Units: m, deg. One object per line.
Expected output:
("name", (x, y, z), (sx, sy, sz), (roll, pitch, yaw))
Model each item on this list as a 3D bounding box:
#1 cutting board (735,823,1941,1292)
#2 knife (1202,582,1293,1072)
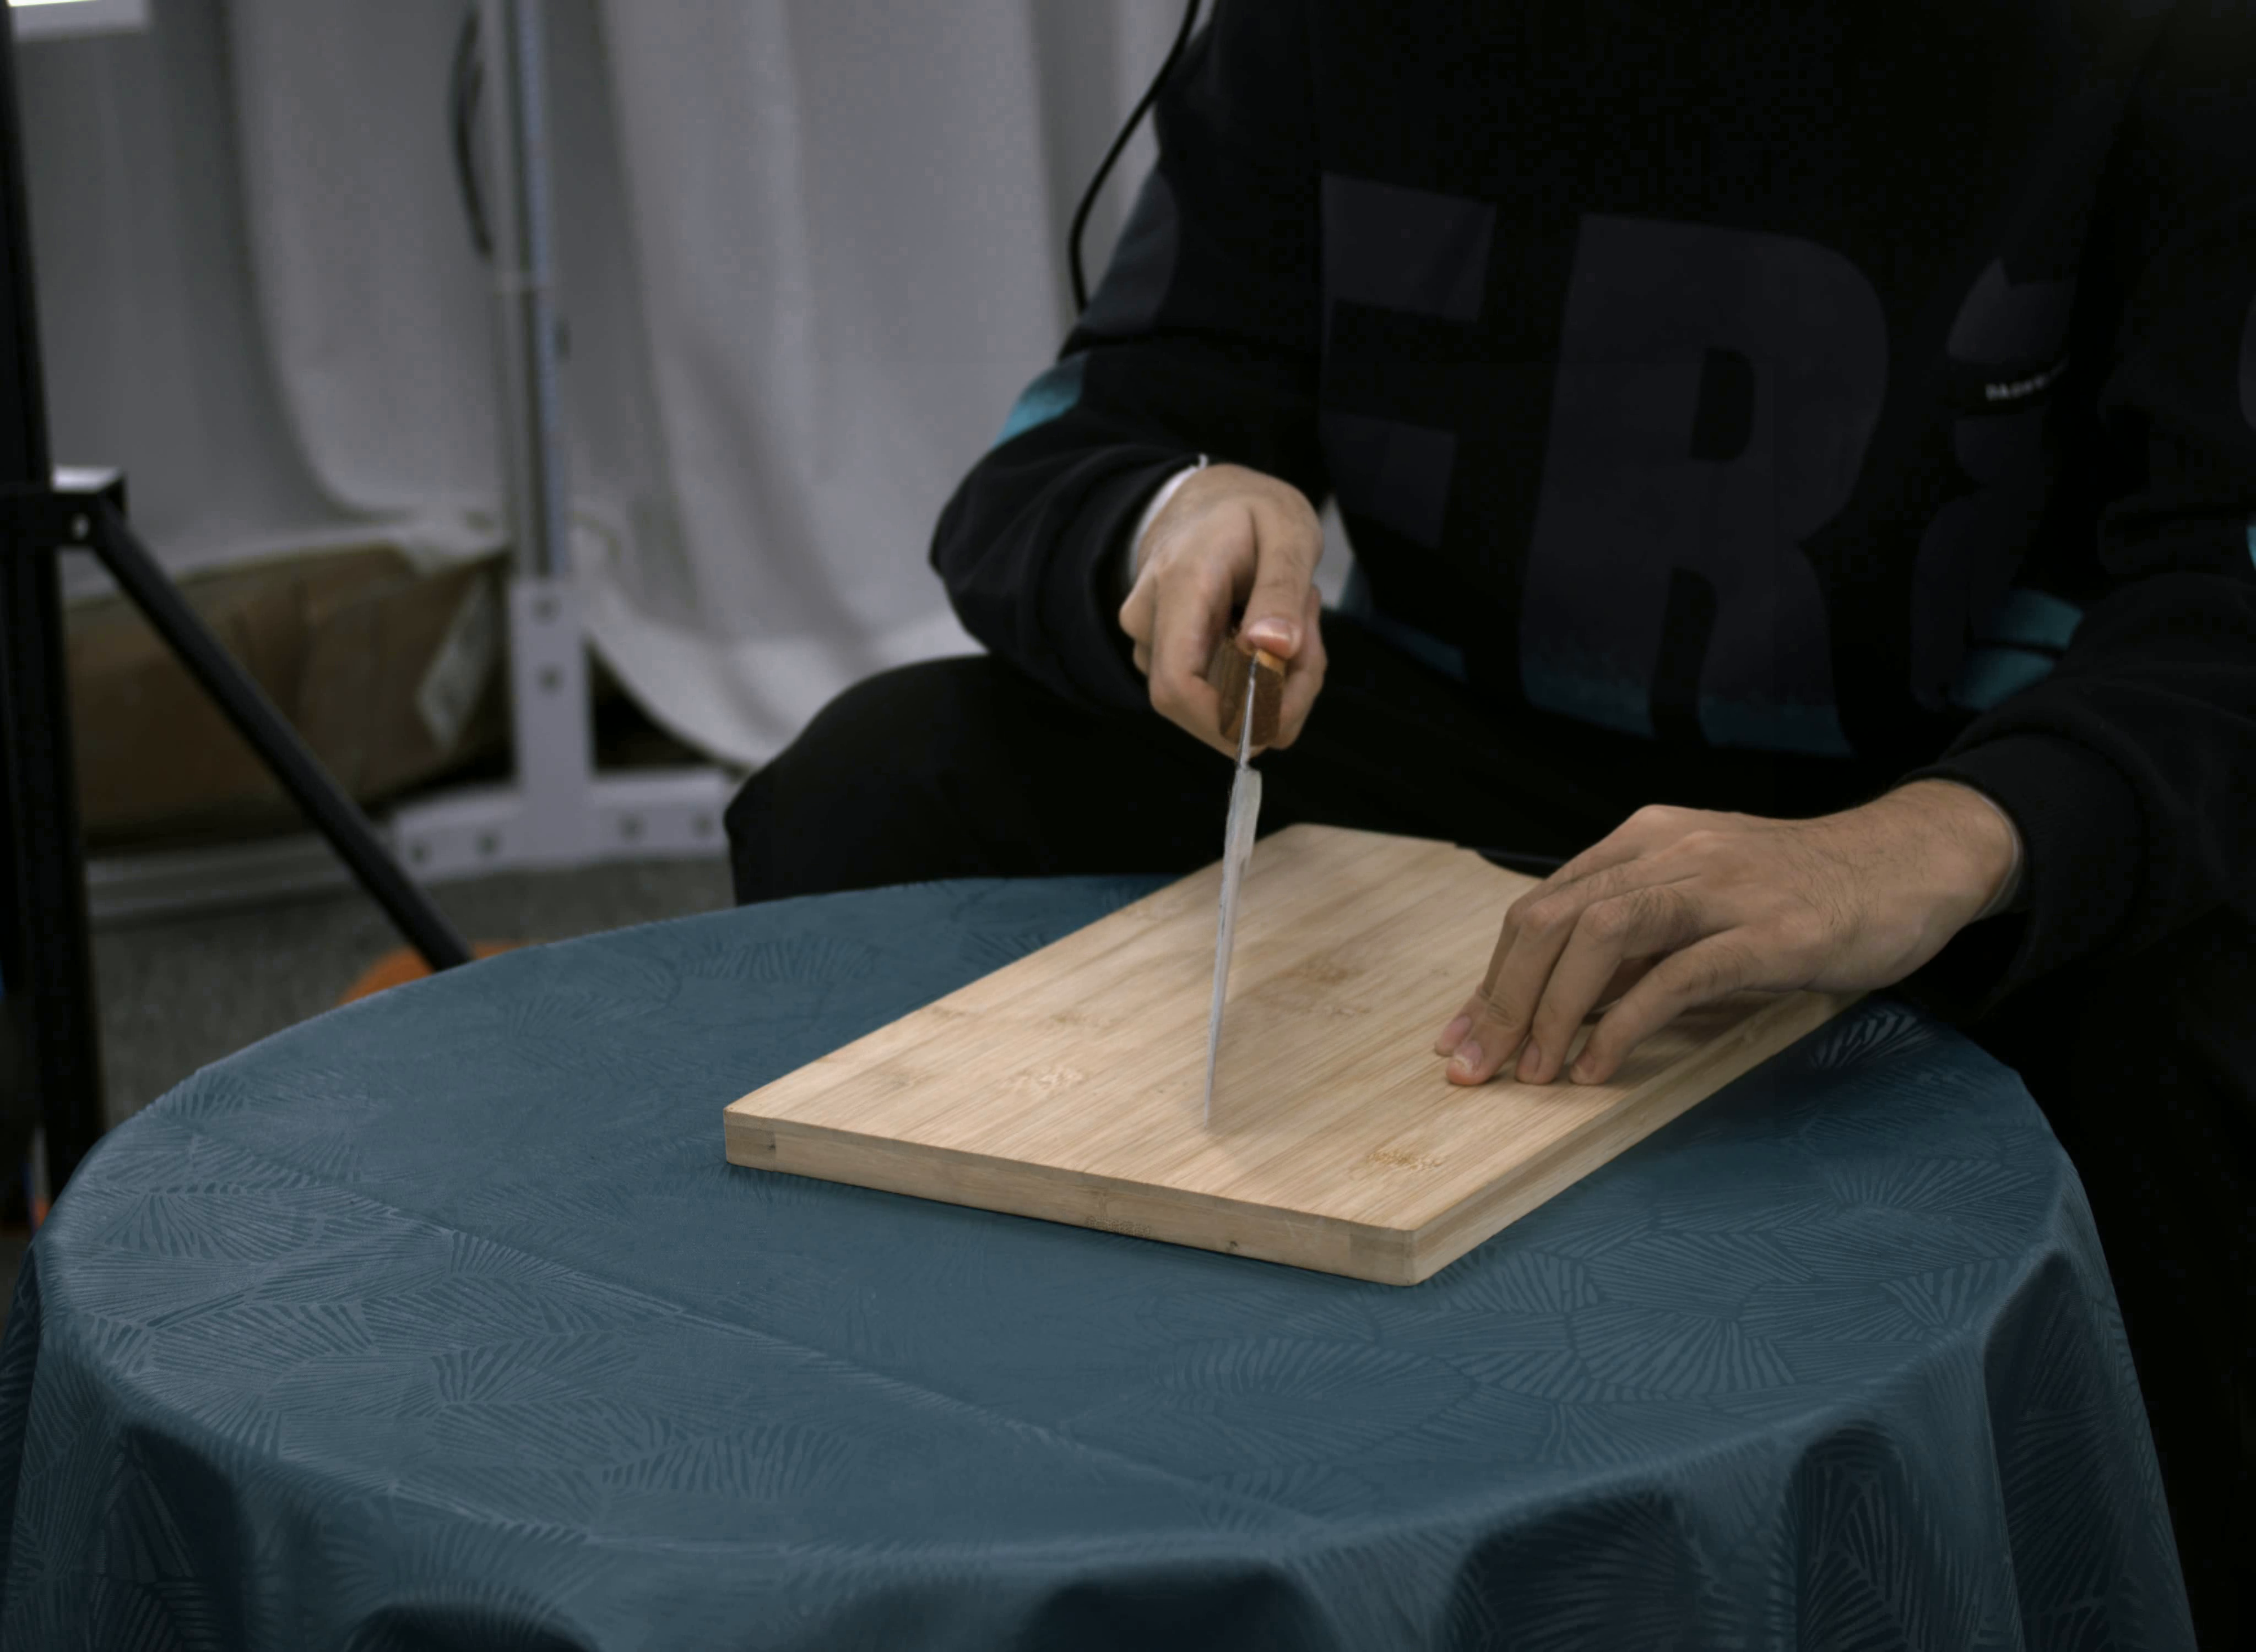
("cutting board", (0.073, 0.064, 1.669), (0.255, 0.023, 0.342), (7, 19, 32))
("knife", (0.035, -0.001, 1.679), (0.021, 0.093, 0.306), (5, 18, 2))
